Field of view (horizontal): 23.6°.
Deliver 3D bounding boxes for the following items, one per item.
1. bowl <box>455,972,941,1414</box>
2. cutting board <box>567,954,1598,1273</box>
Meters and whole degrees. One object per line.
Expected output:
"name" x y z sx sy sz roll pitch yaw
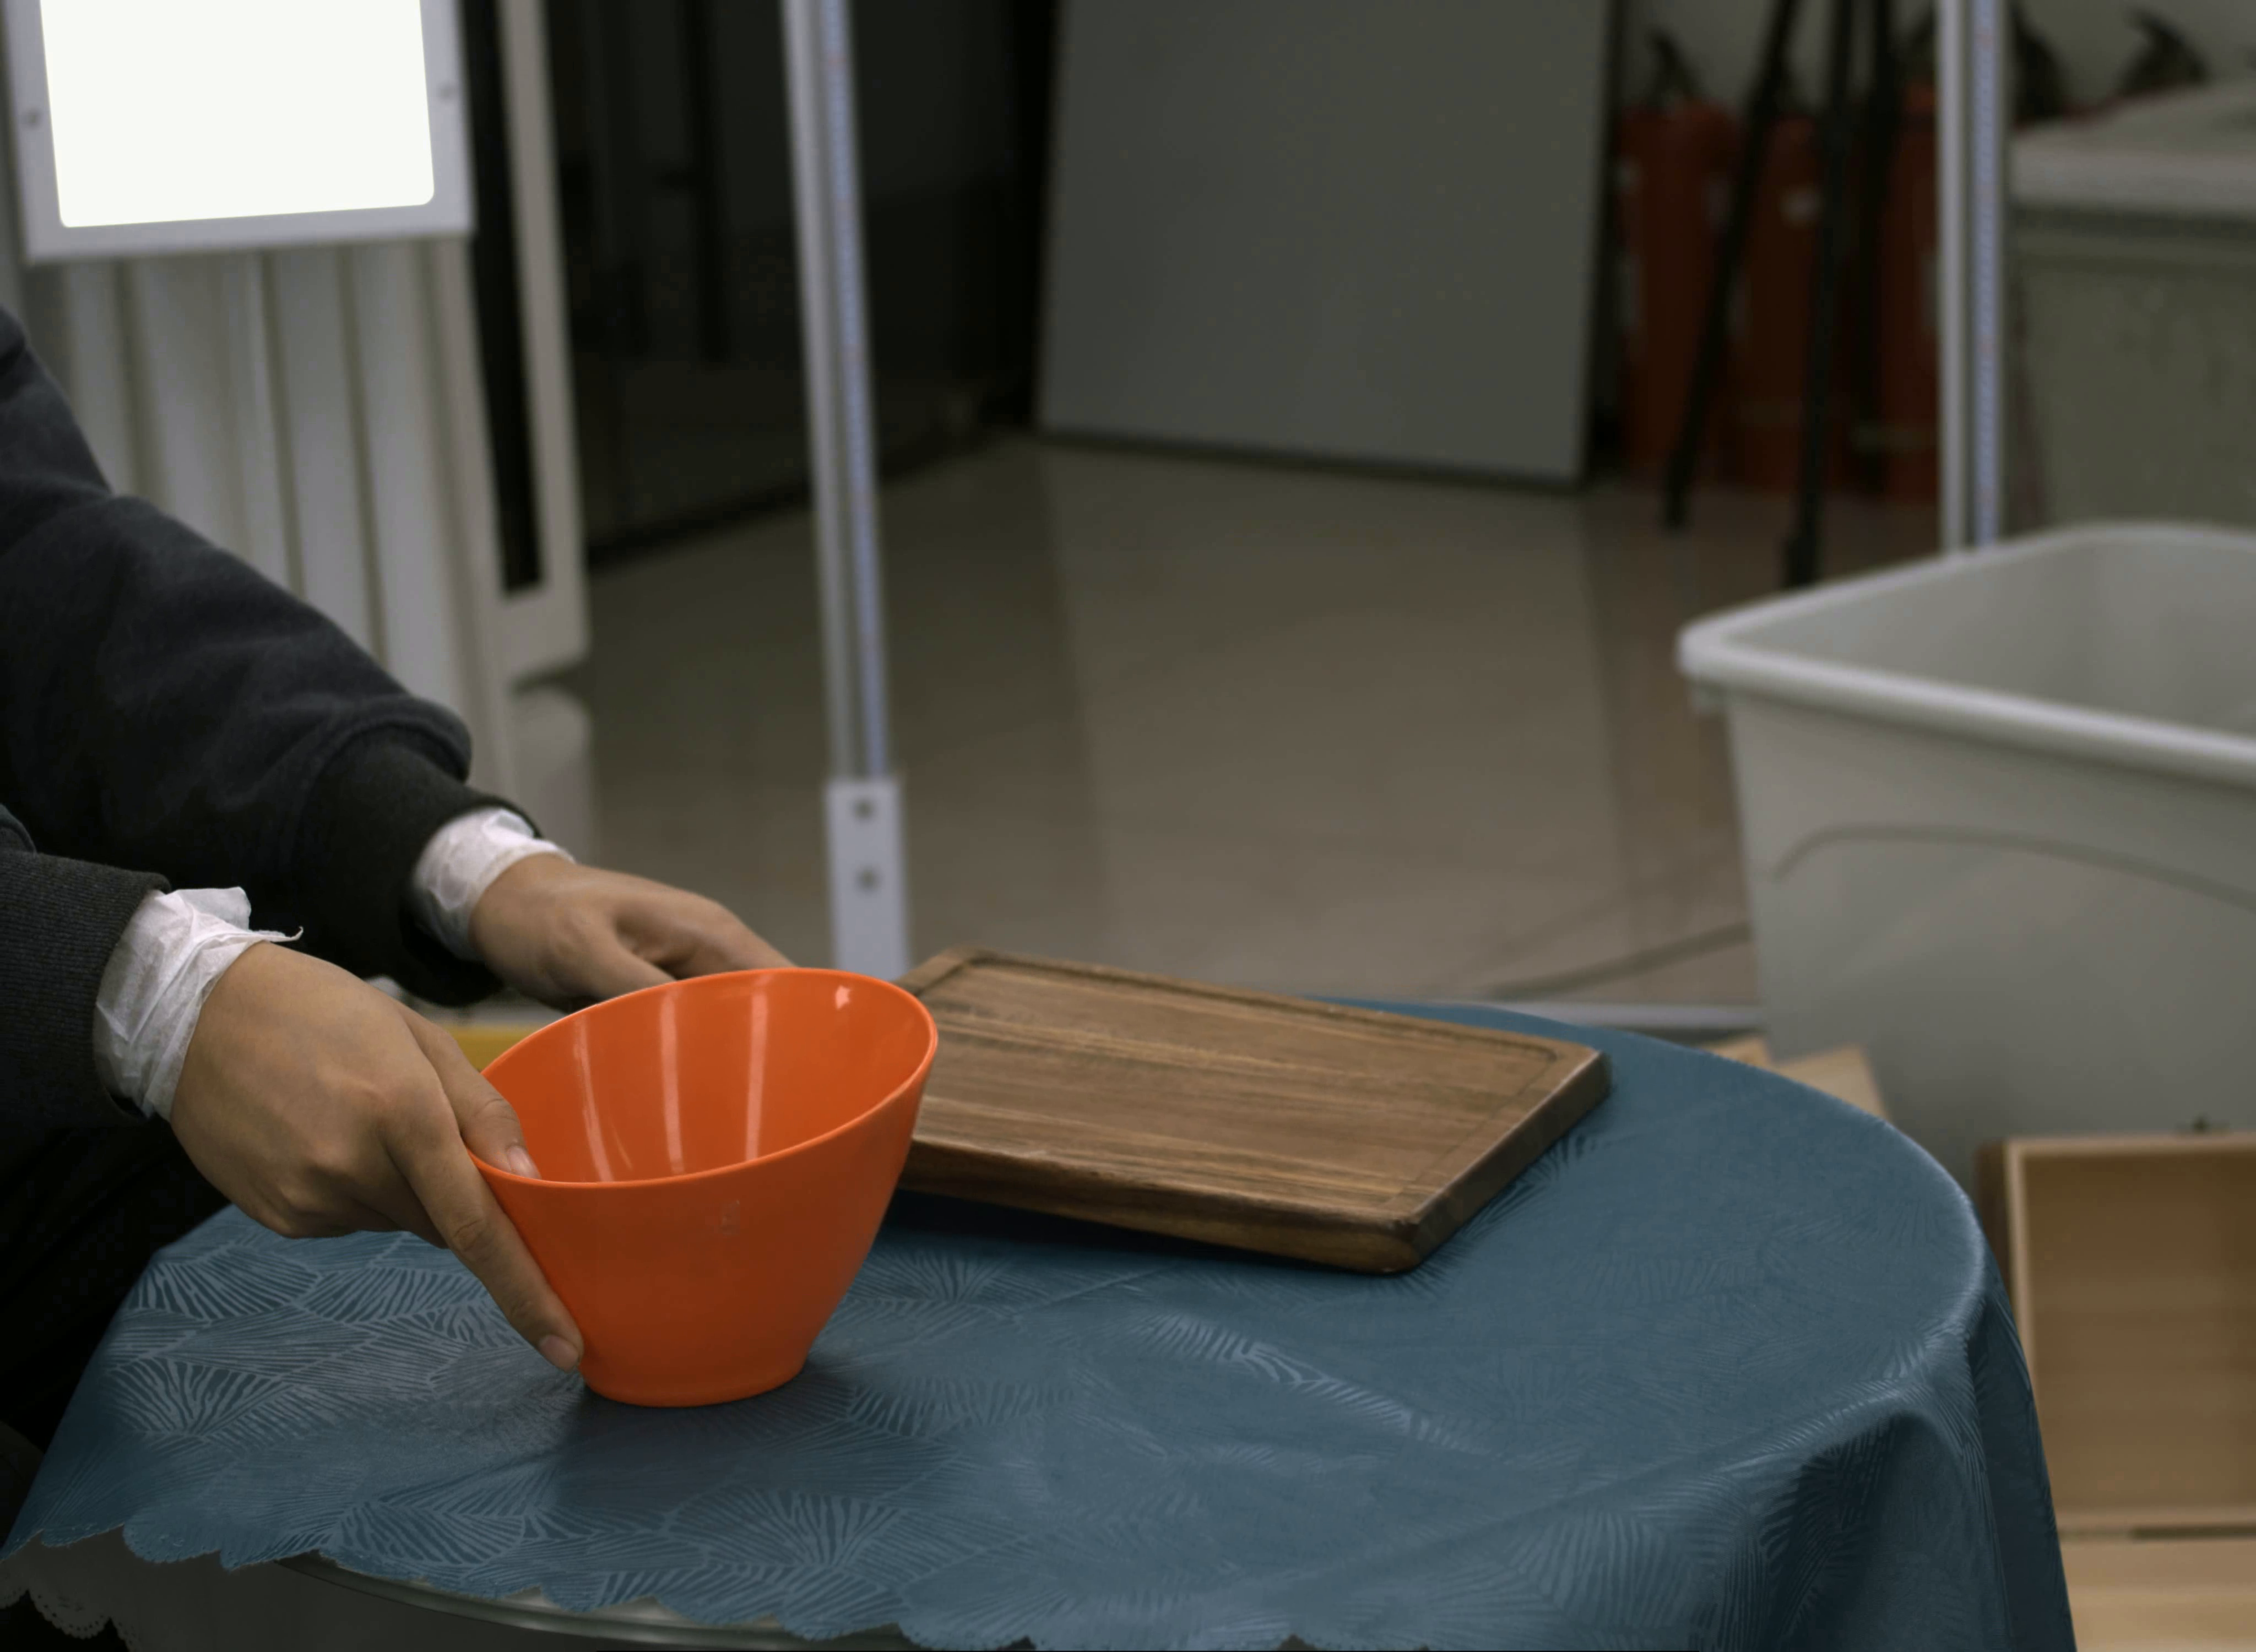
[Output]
"bowl" -0.126 0.113 1.621 0.146 0.106 0.148 -3 13 0
"cutting board" -0.033 0.086 1.816 0.352 0.023 0.198 8 17 24
